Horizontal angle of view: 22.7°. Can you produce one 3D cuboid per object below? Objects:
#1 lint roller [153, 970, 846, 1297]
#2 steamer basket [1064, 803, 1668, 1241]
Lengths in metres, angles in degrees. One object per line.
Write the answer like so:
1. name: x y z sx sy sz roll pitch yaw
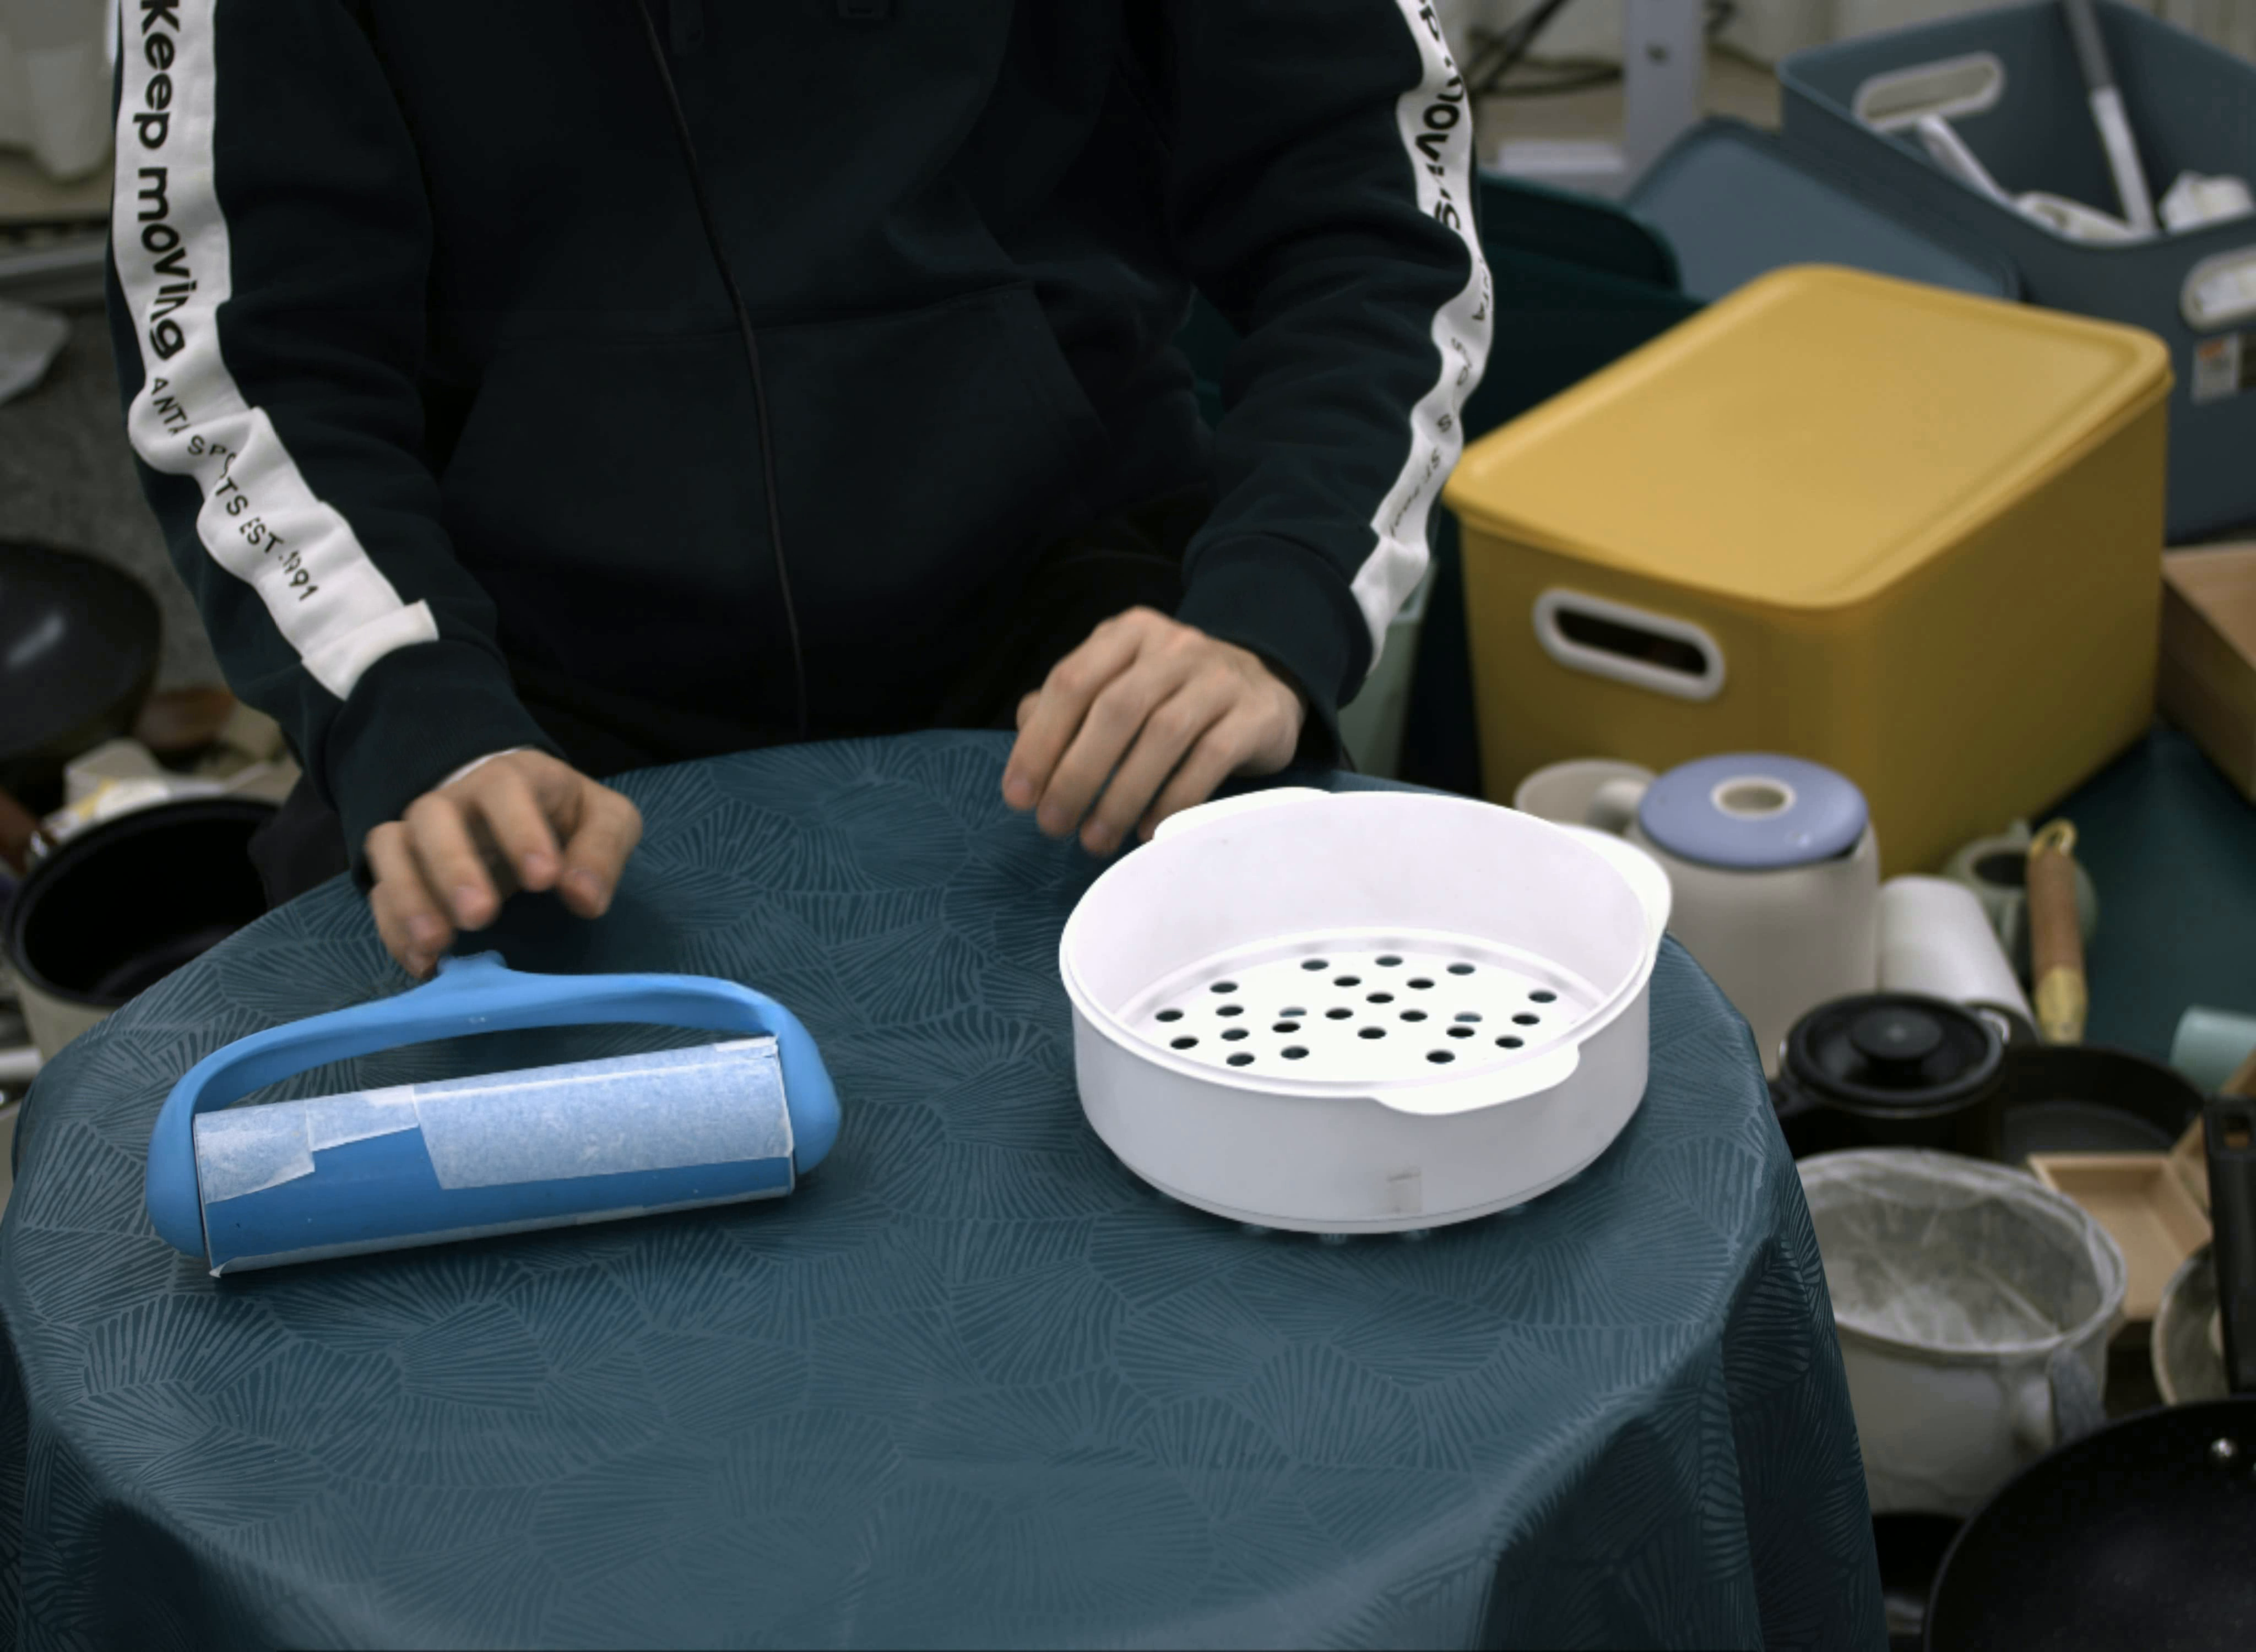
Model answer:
1. lint roller: -0.220 0.084 1.896 0.229 0.067 0.182 -11 29 -11
2. steamer basket: 0.080 0.066 1.886 0.202 0.068 0.232 -12 28 -18
